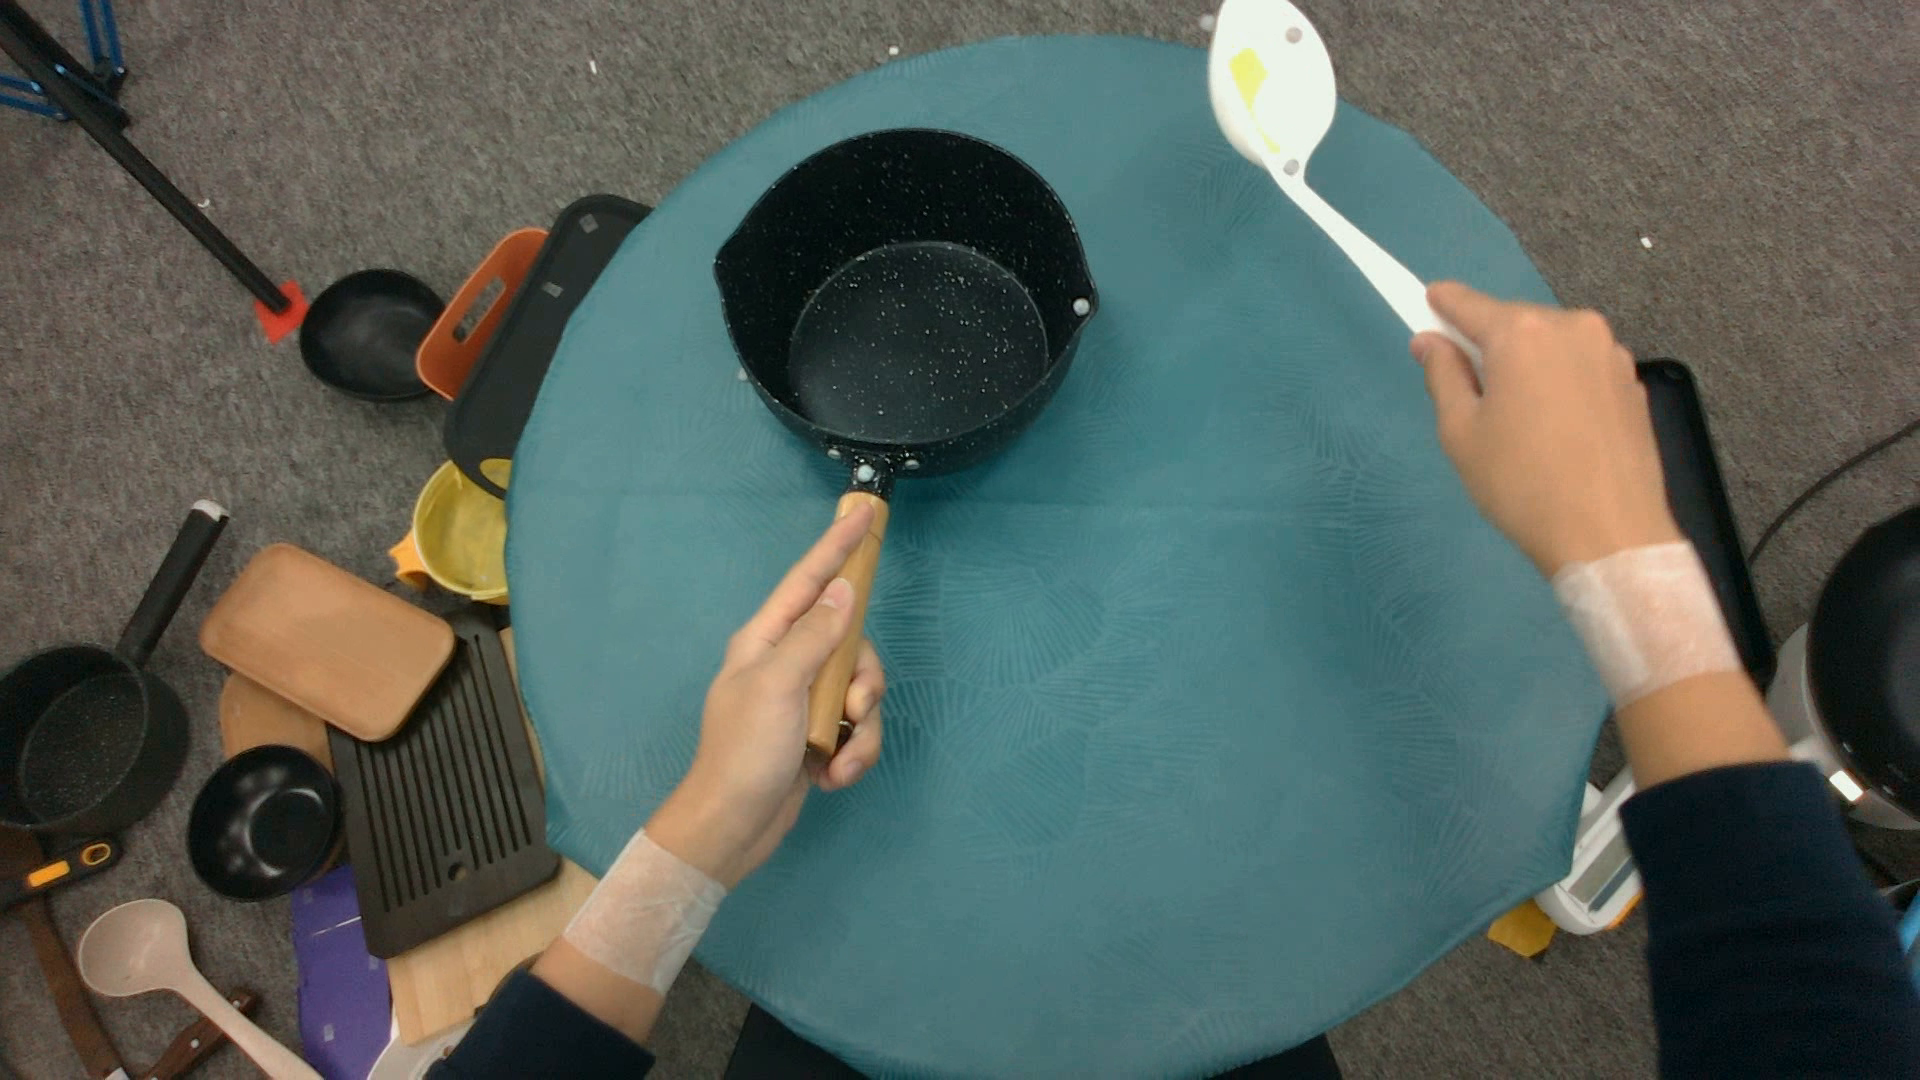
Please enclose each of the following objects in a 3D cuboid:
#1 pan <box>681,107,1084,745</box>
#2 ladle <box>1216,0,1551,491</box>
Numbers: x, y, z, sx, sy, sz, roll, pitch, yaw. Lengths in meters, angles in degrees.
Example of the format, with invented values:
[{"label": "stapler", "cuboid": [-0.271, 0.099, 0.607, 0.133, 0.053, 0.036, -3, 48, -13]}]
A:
[{"label": "pan", "cuboid": [-0.048, -0.056, 0.696, 0.207, 0.108, 0.344, 6, 70, 4]}, {"label": "ladle", "cuboid": [0.202, -0.153, 0.660, 0.069, 0.090, 0.294, -45, 50, 28]}]
